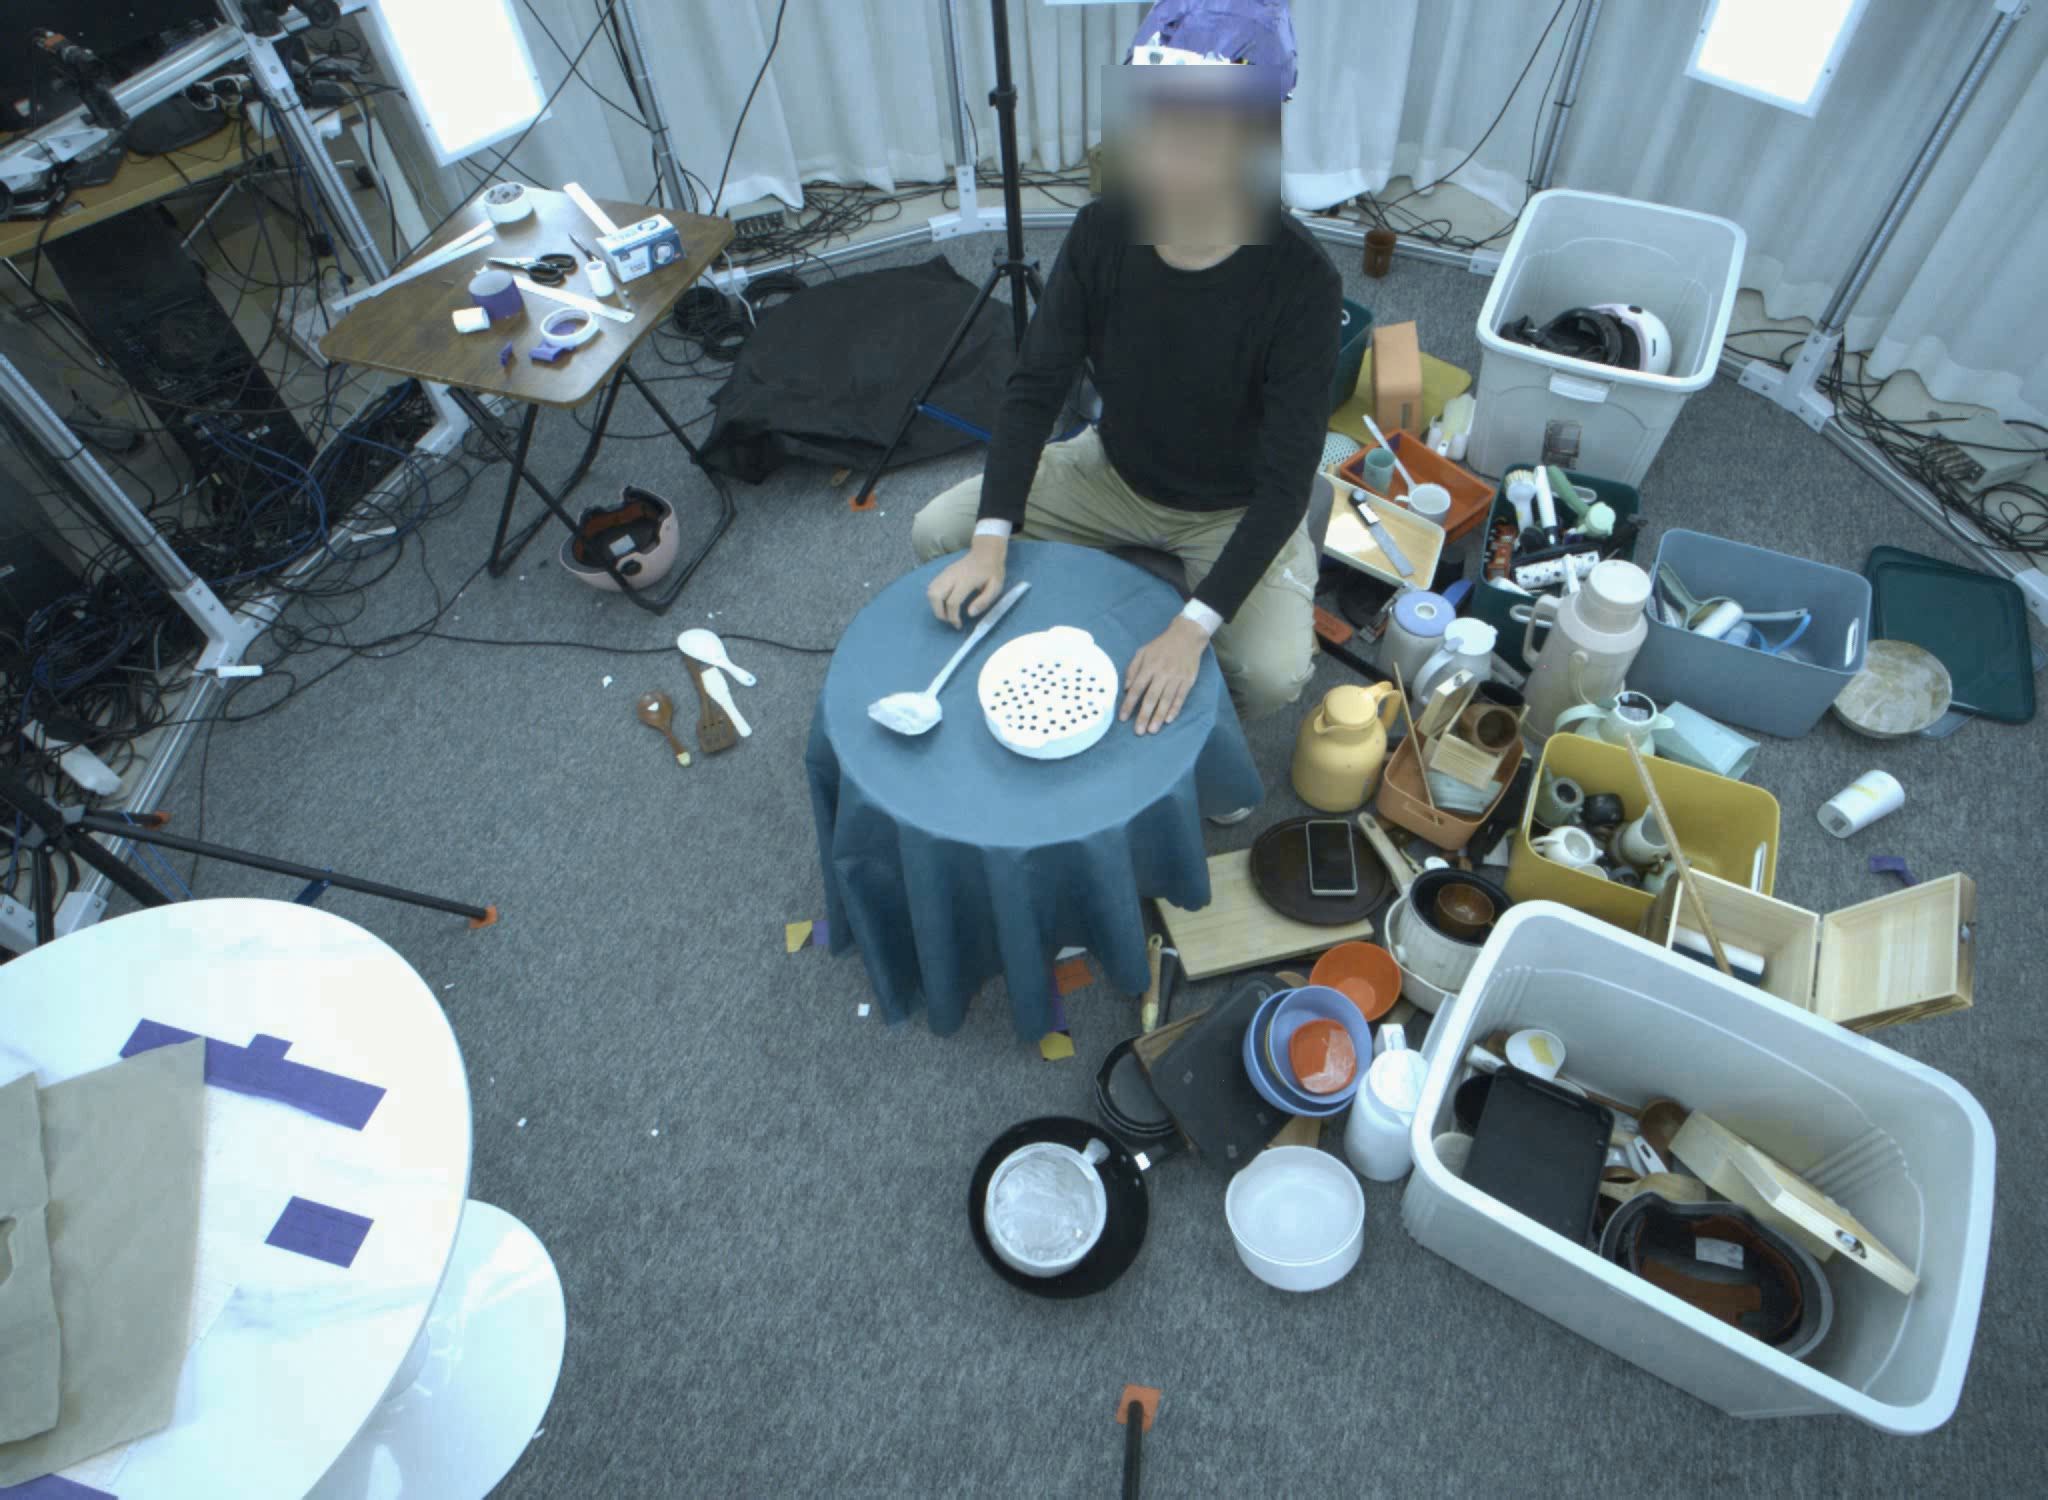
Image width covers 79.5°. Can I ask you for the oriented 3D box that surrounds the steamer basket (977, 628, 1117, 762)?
[{"bbox_3d":[0.034,-0.076,1.797,0.200,0.070,0.230,17,56,13],"label":"steamer basket"}]

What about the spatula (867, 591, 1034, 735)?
[{"bbox_3d":[-0.097,-0.147,1.871,0.097,0.045,0.366,26,60,23],"label":"spatula"}]
